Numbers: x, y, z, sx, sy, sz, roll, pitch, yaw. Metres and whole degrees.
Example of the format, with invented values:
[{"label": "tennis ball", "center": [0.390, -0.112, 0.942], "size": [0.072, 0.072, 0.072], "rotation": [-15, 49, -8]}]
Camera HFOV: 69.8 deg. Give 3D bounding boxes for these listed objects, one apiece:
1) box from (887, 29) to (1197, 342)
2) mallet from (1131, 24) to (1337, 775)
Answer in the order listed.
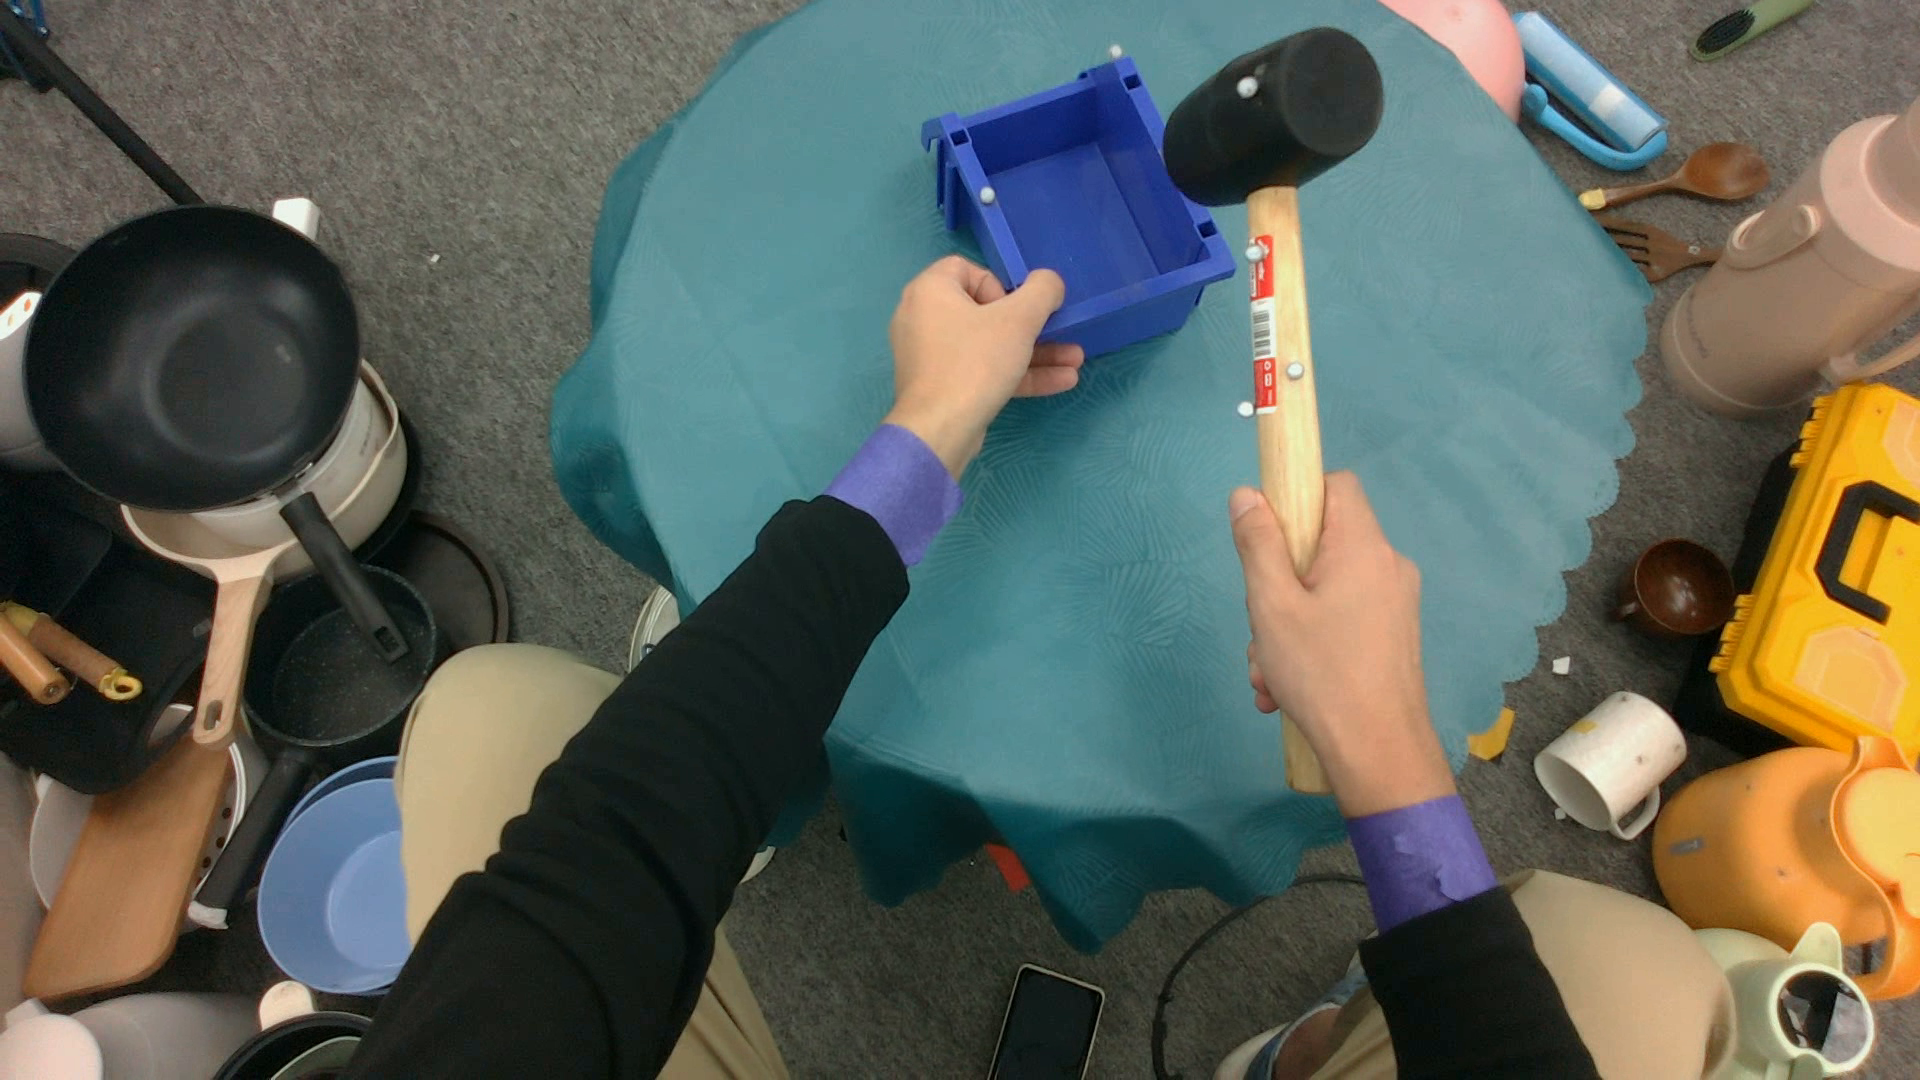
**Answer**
[{"label": "box", "center": [0.041, -0.213, 0.811], "size": [0.124, 0.081, 0.179], "rotation": [-19, 75, -9]}, {"label": "mallet", "center": [0.133, -0.060, 0.642], "size": [0.064, 0.101, 0.339], "rotation": [-3, 90, -18]}]
